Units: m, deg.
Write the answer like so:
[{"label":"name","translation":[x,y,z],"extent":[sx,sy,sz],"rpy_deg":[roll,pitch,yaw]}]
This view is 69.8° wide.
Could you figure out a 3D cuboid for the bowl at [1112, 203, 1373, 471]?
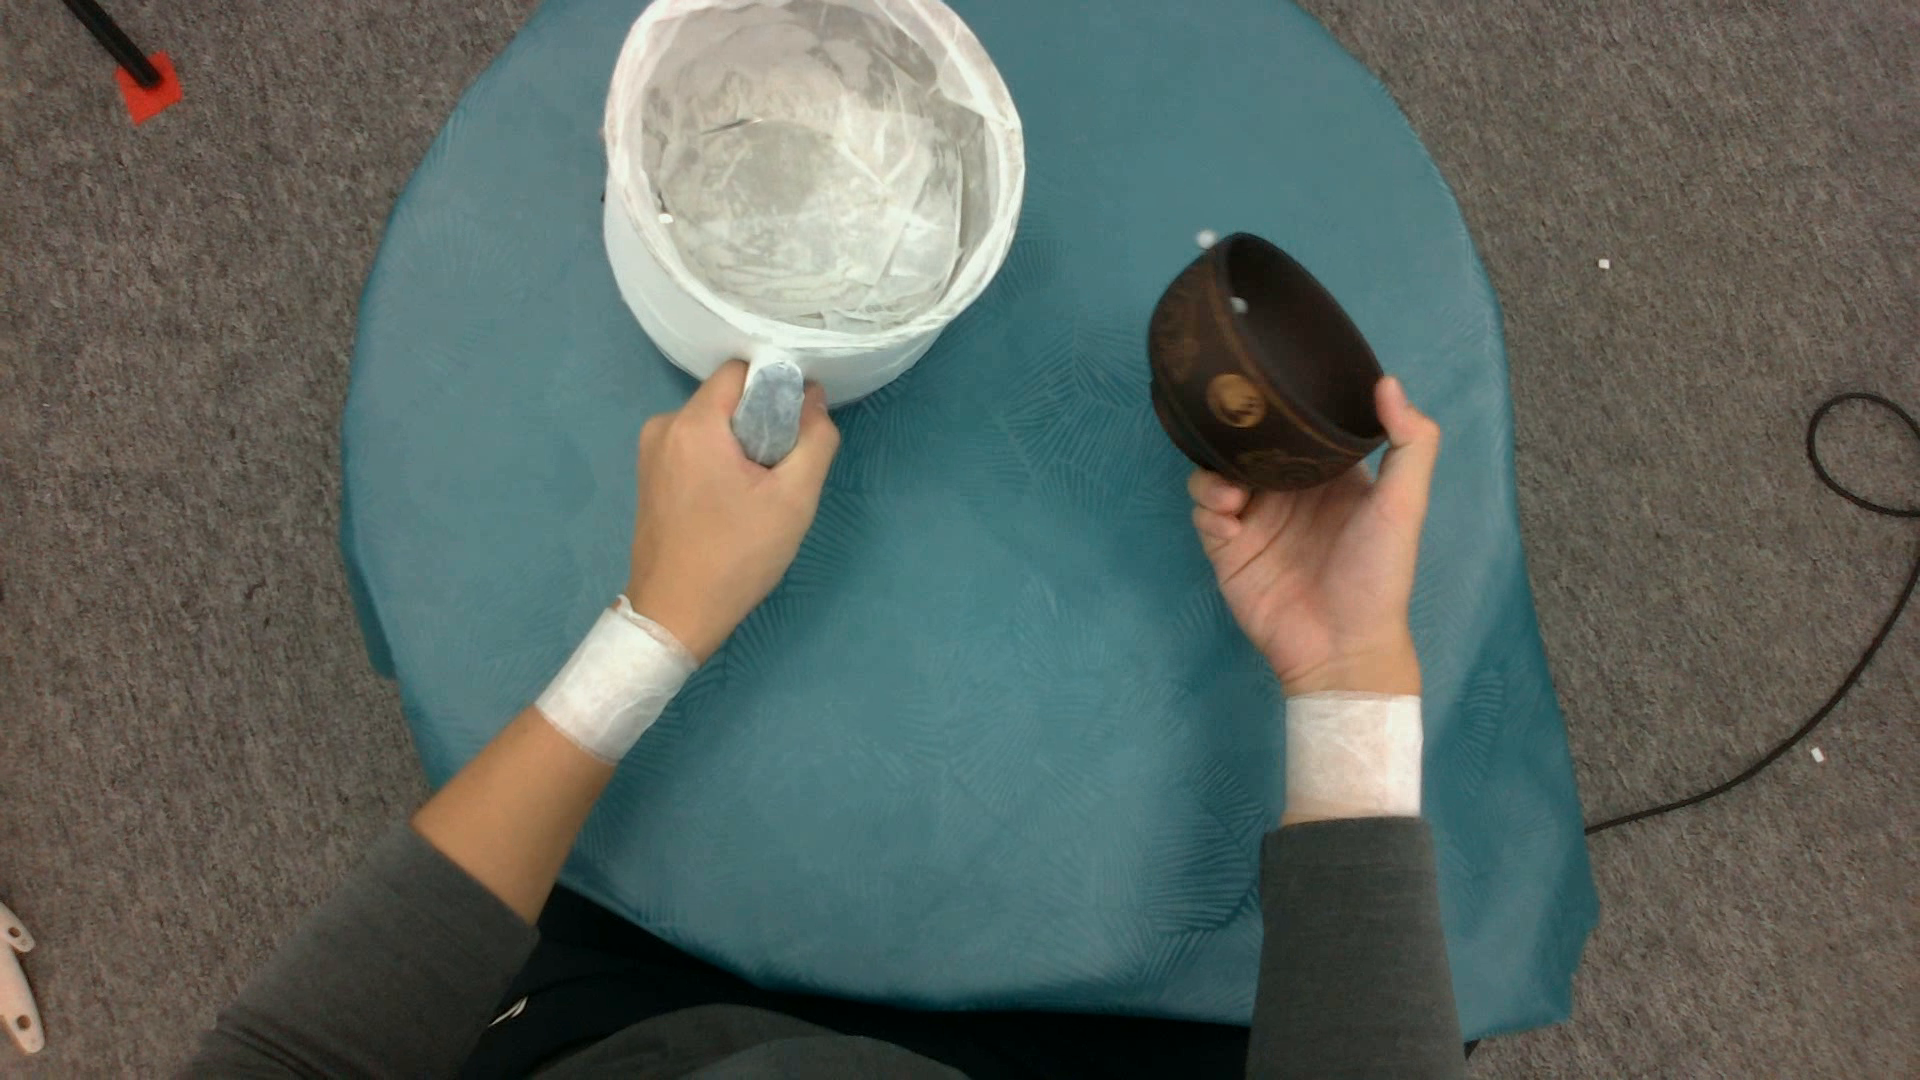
[{"label":"bowl","translation":[0.116,-0.082,0.608],"extent":[0.118,0.069,0.118],"rpy_deg":[20,52,-27]}]

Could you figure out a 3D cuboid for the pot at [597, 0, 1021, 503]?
[{"label":"pot","translation":[-0.080,-0.136,0.633],"extent":[0.179,0.136,0.234],"rpy_deg":[11,79,-15]}]
